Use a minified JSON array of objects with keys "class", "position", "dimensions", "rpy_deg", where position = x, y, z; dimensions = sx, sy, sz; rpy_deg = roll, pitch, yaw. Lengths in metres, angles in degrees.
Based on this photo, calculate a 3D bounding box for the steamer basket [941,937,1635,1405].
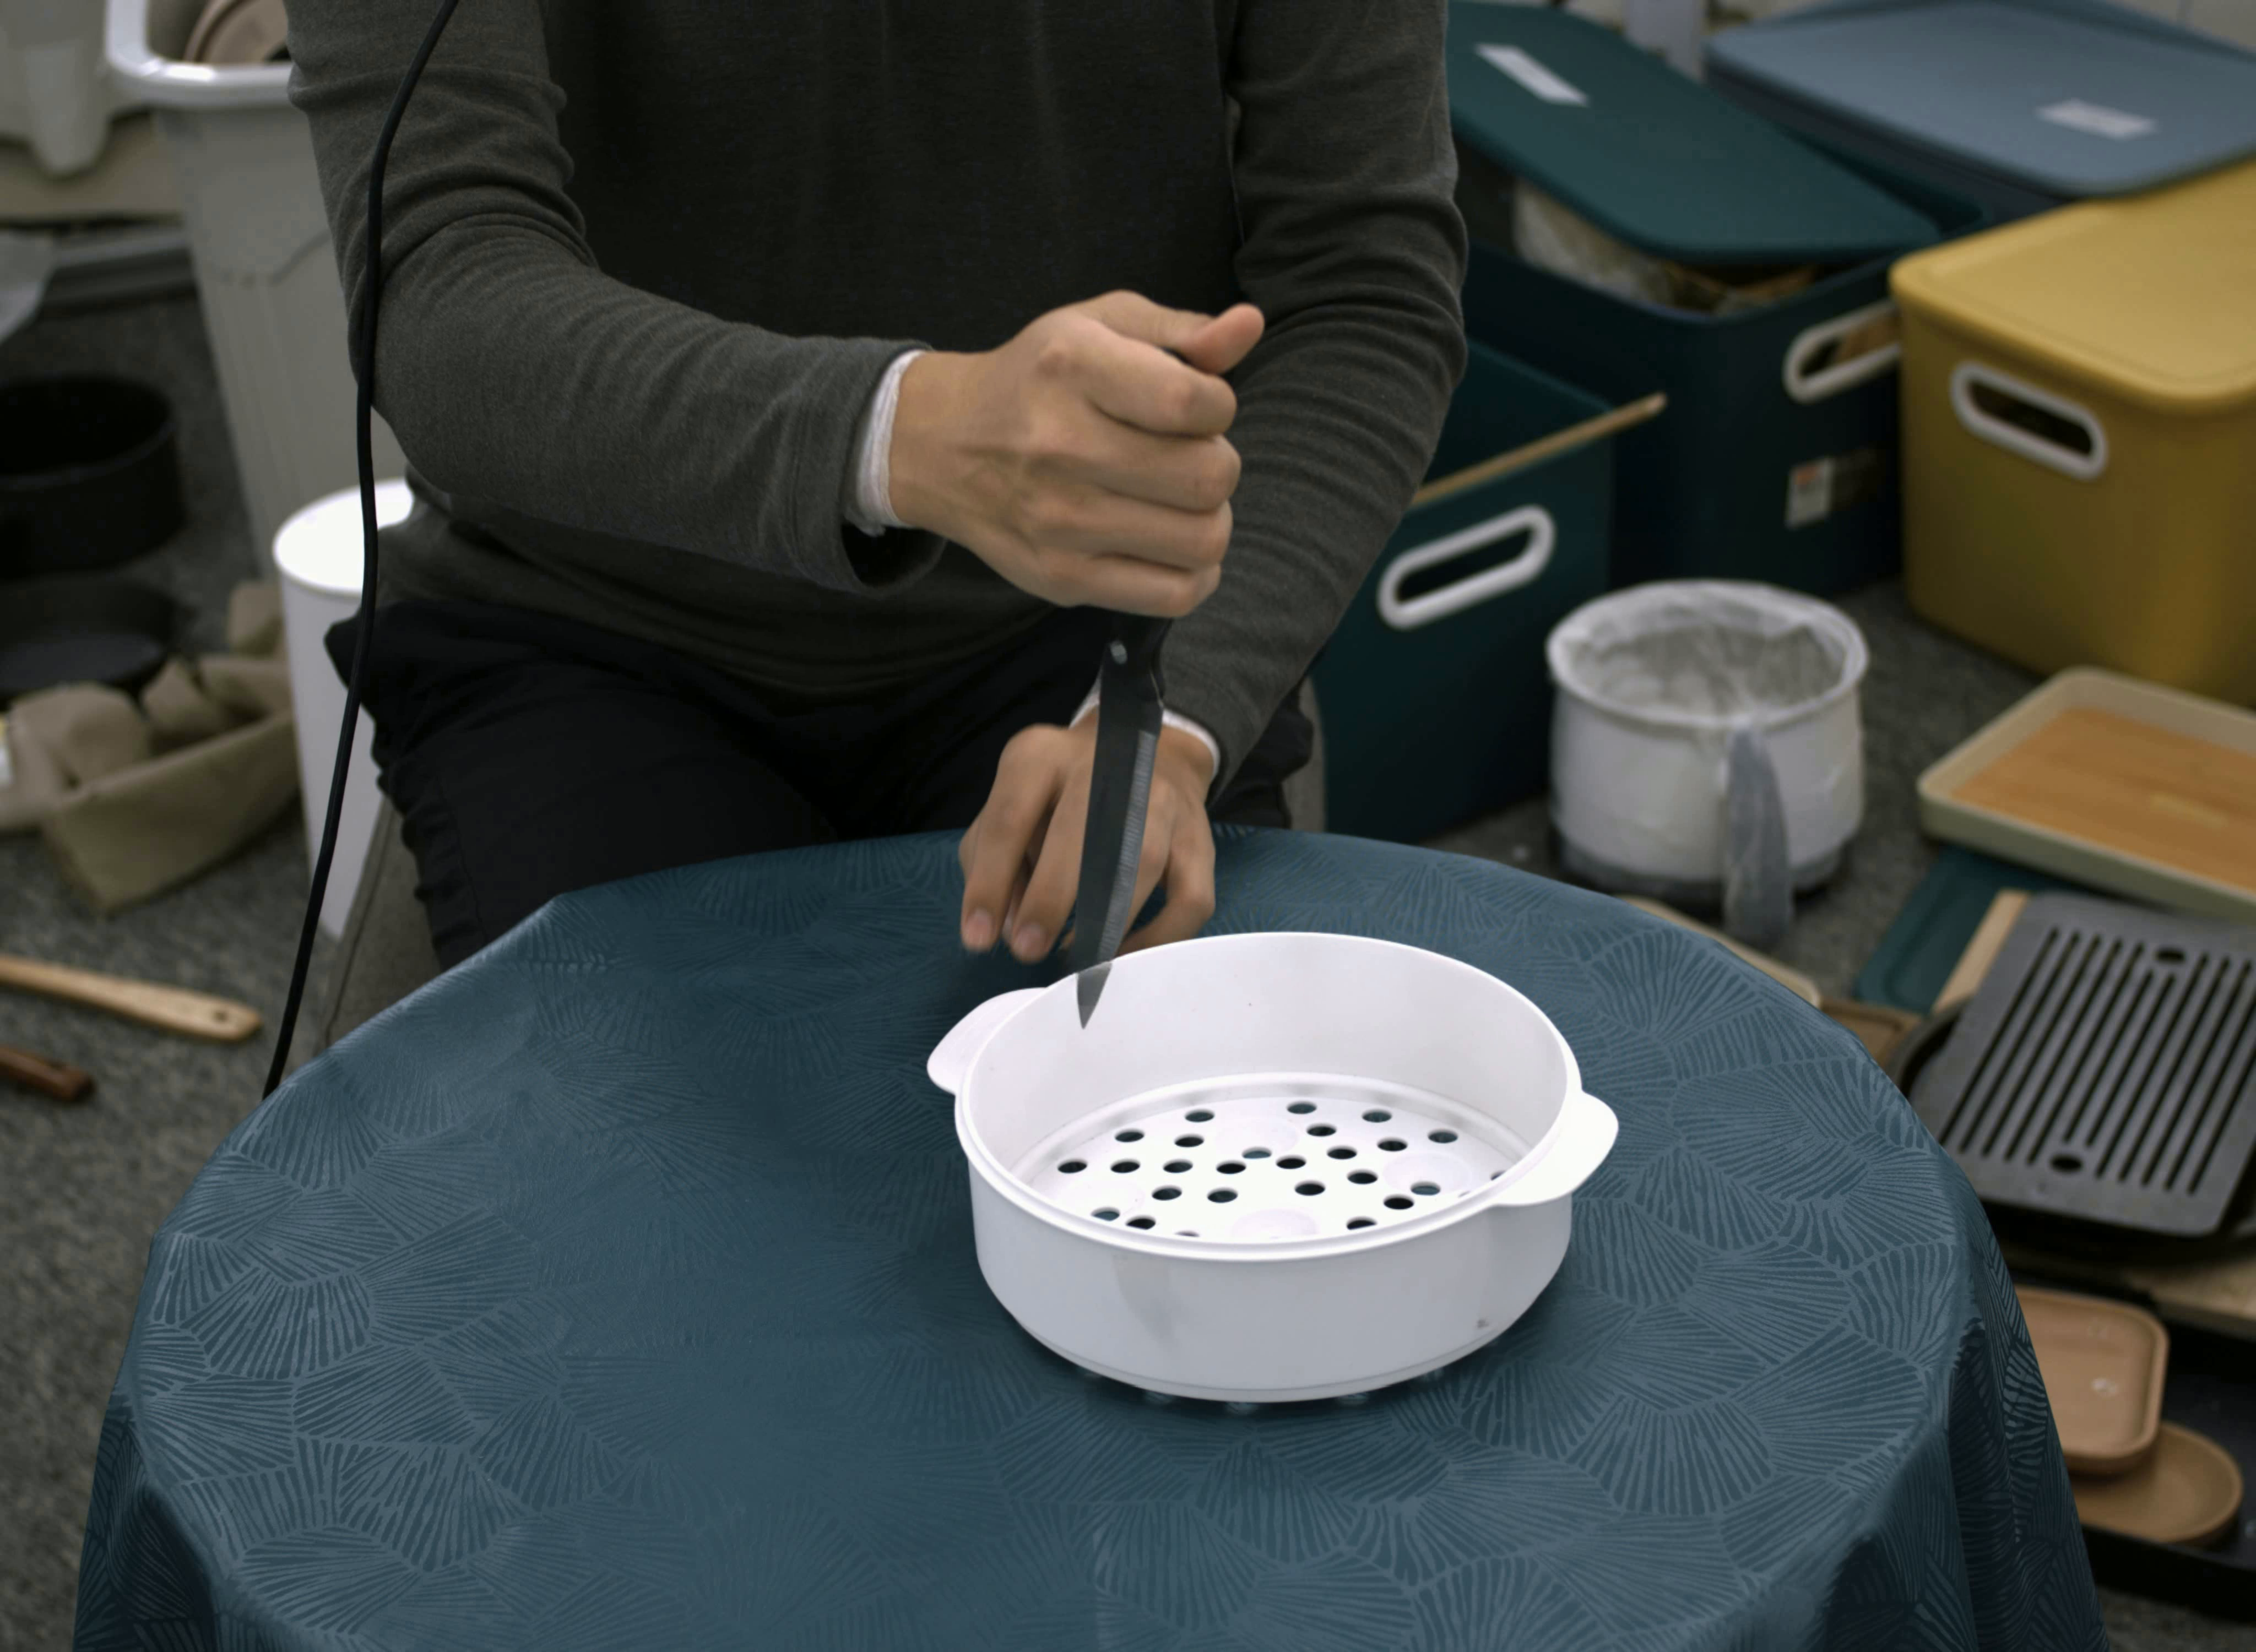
[{"class":"steamer basket","position":[0.050,0.110,1.805],"dimensions":[0.229,0.068,0.205],"rpy_deg":[10,29,25]}]

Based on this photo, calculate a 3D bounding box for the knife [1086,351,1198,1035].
[{"class":"knife","position":[0.000,-0.039,1.731],"dimensions":[0.024,0.235,0.016],"rpy_deg":[27,34,34]}]
